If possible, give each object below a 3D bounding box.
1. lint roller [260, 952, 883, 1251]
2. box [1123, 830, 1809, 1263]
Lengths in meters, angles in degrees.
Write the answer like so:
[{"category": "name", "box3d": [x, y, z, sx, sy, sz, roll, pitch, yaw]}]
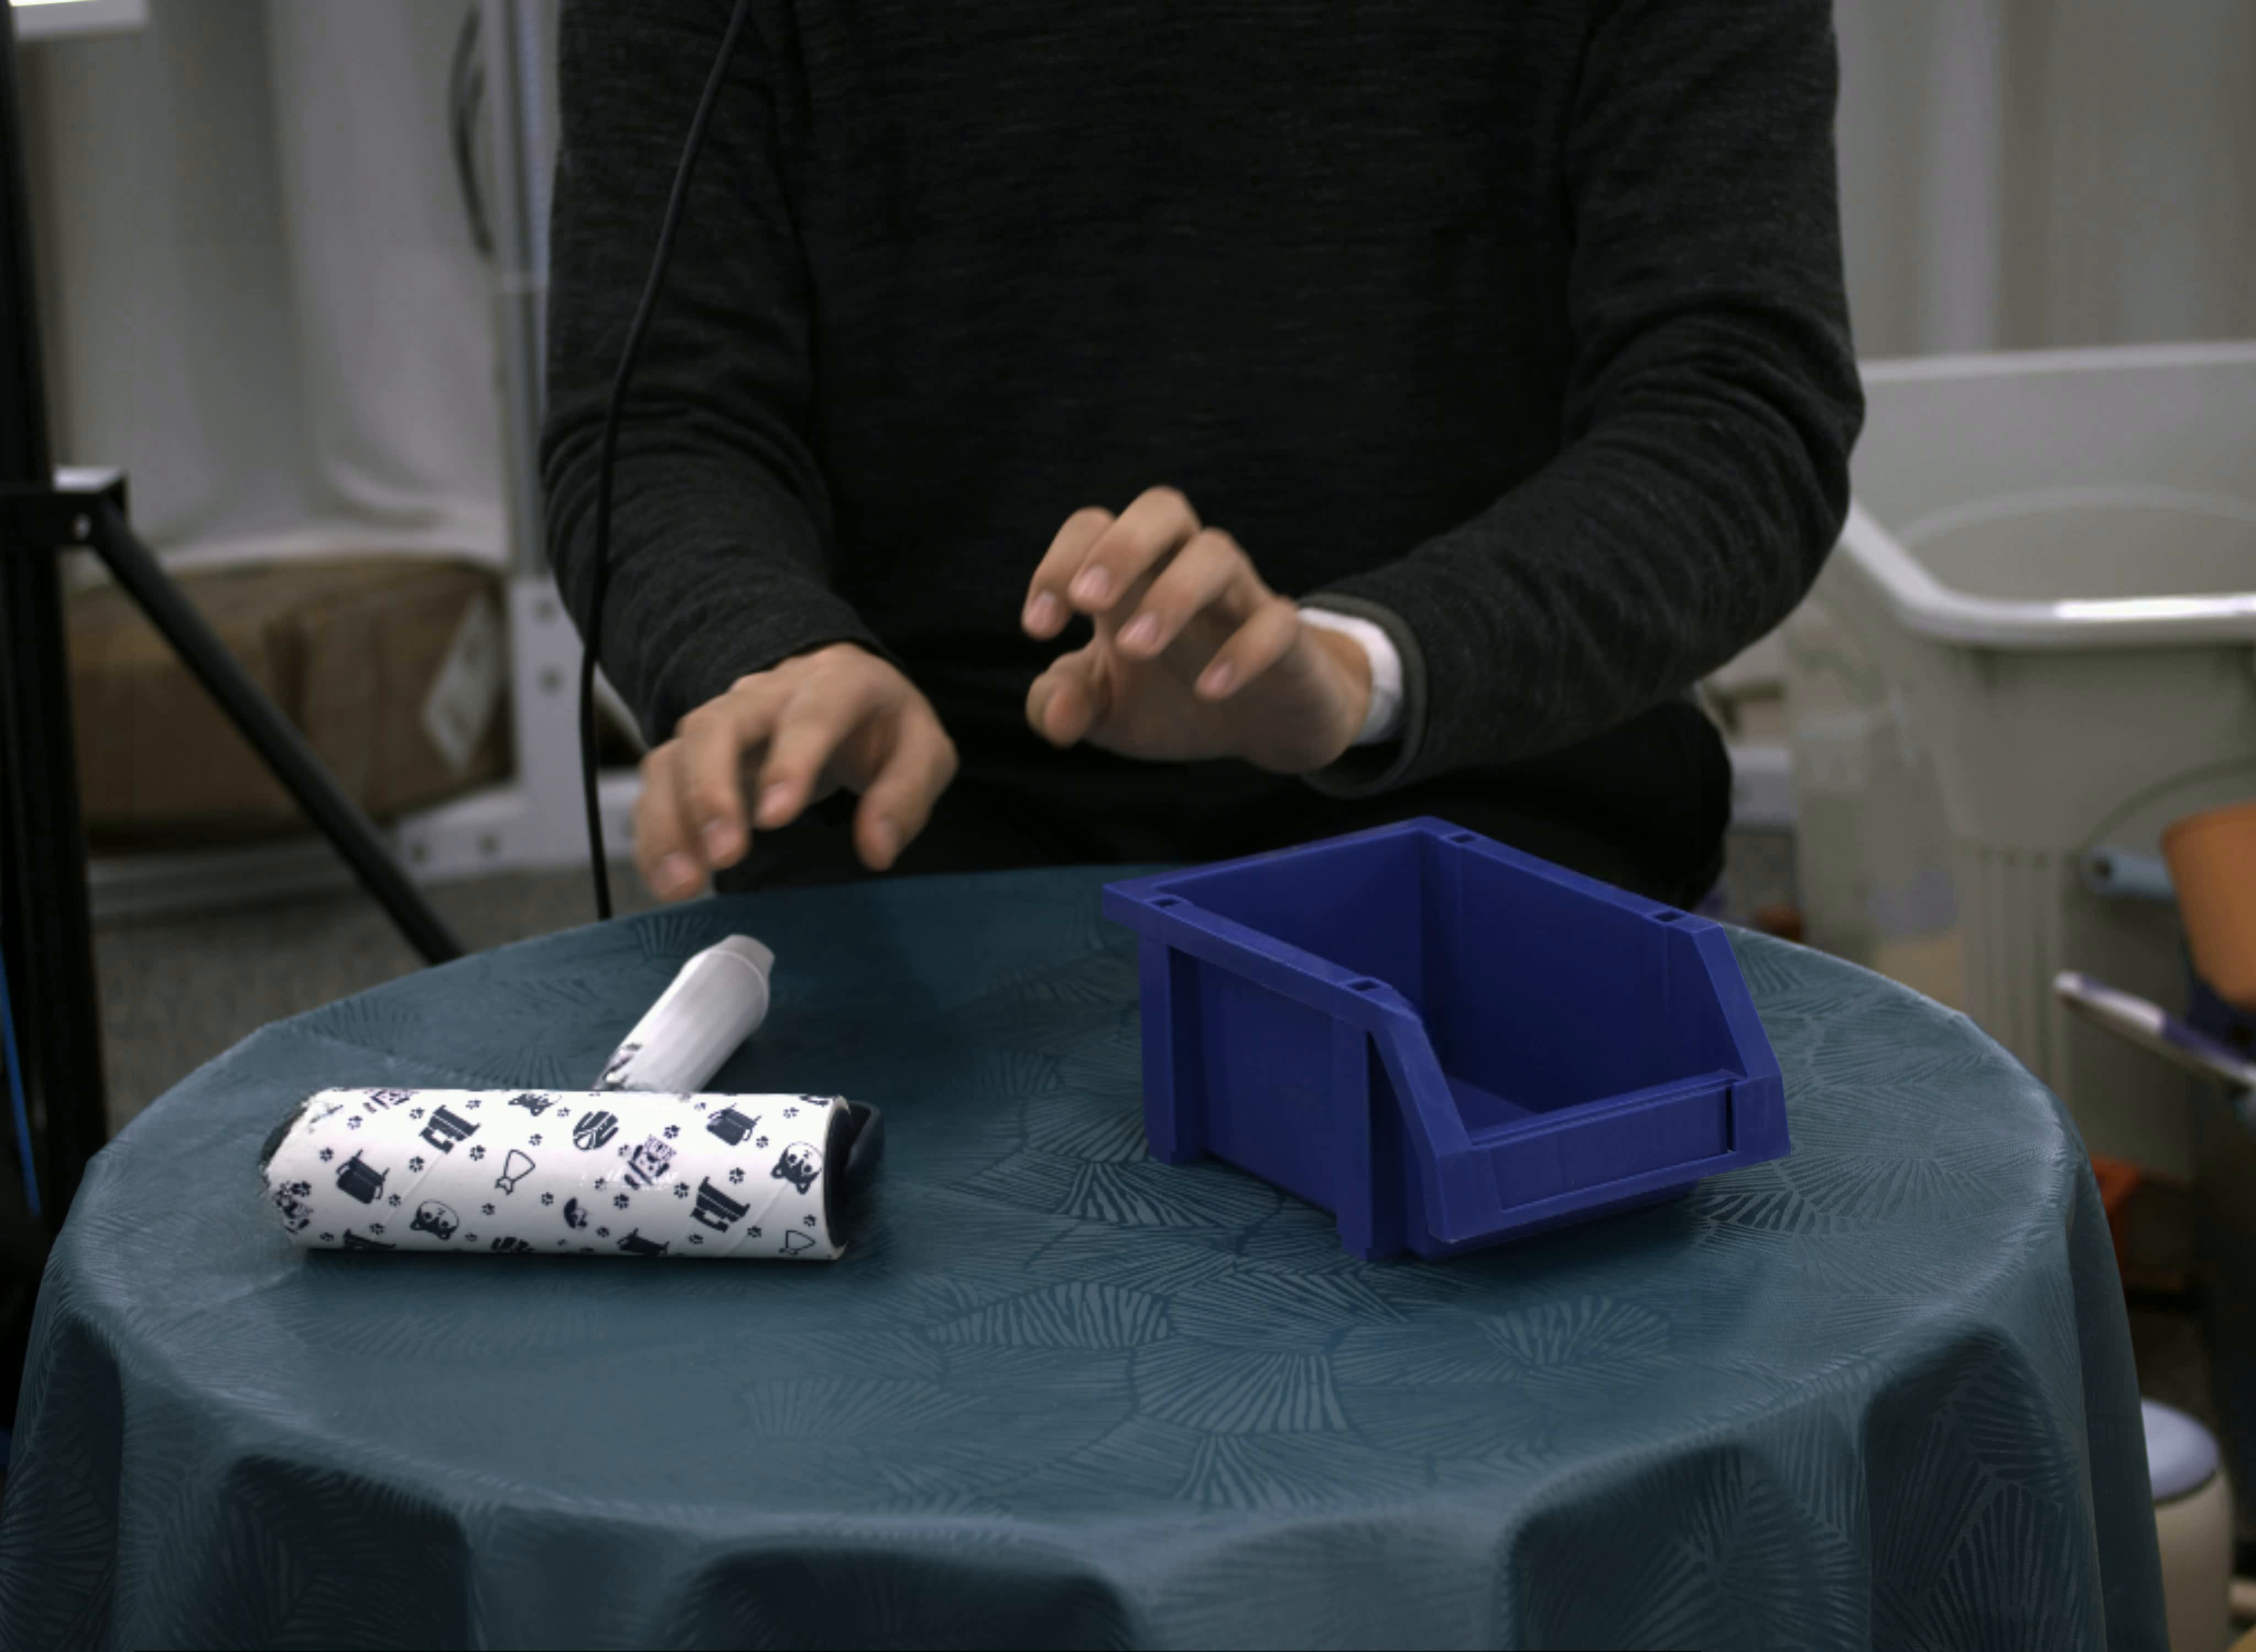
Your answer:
[{"category": "lint roller", "box3d": [-0.146, 0.073, 1.625, 0.177, 0.050, 0.246, -1, 15, 10]}, {"category": "box", "box3d": [0.098, 0.066, 1.541, 0.122, 0.082, 0.183, -10, 15, -28]}]
